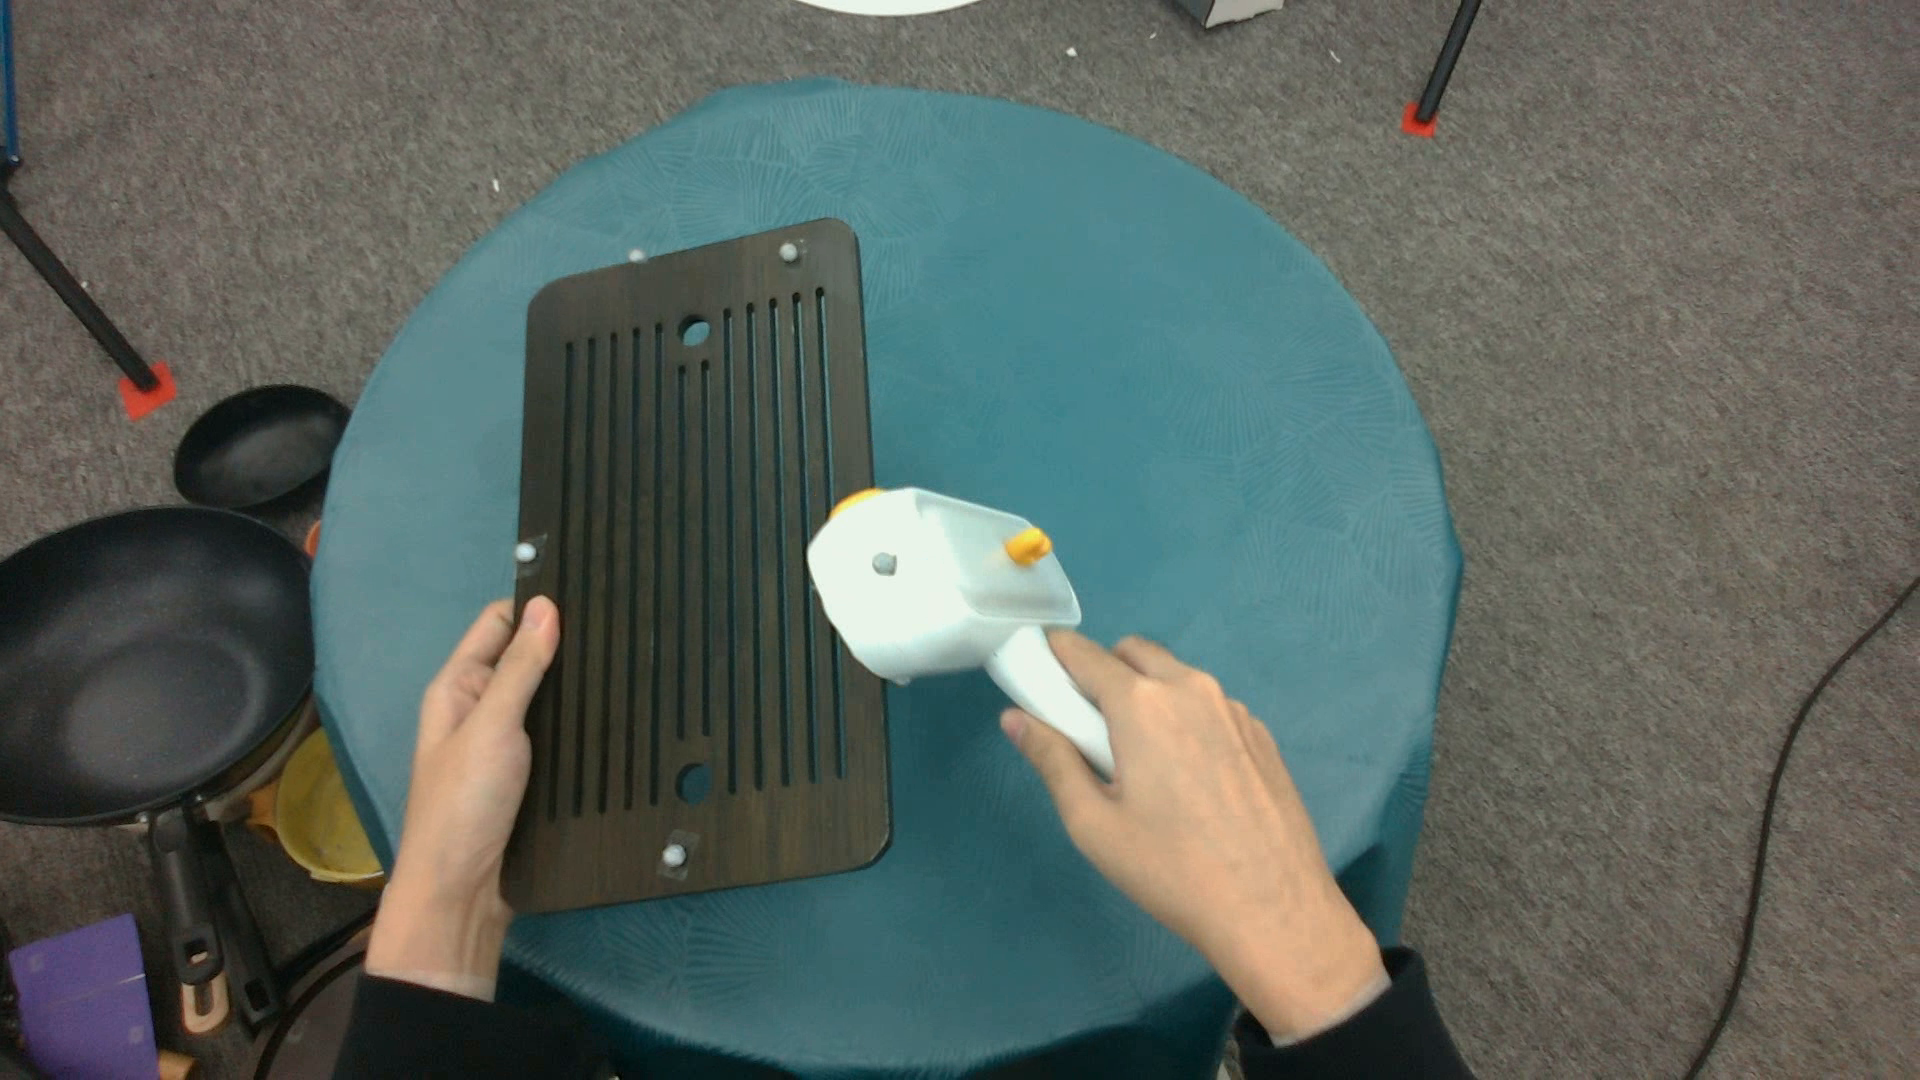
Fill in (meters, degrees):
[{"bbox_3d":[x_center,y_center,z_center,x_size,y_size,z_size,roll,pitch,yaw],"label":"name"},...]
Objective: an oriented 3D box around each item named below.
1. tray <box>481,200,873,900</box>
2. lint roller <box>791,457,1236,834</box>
[{"bbox_3d":[-0.128,-0.005,0.610,0.170,0.018,0.307,-11,68,11],"label":"tray"},{"bbox_3d":[0.031,0.049,0.558,0.074,0.193,0.192,-39,80,9],"label":"lint roller"}]
